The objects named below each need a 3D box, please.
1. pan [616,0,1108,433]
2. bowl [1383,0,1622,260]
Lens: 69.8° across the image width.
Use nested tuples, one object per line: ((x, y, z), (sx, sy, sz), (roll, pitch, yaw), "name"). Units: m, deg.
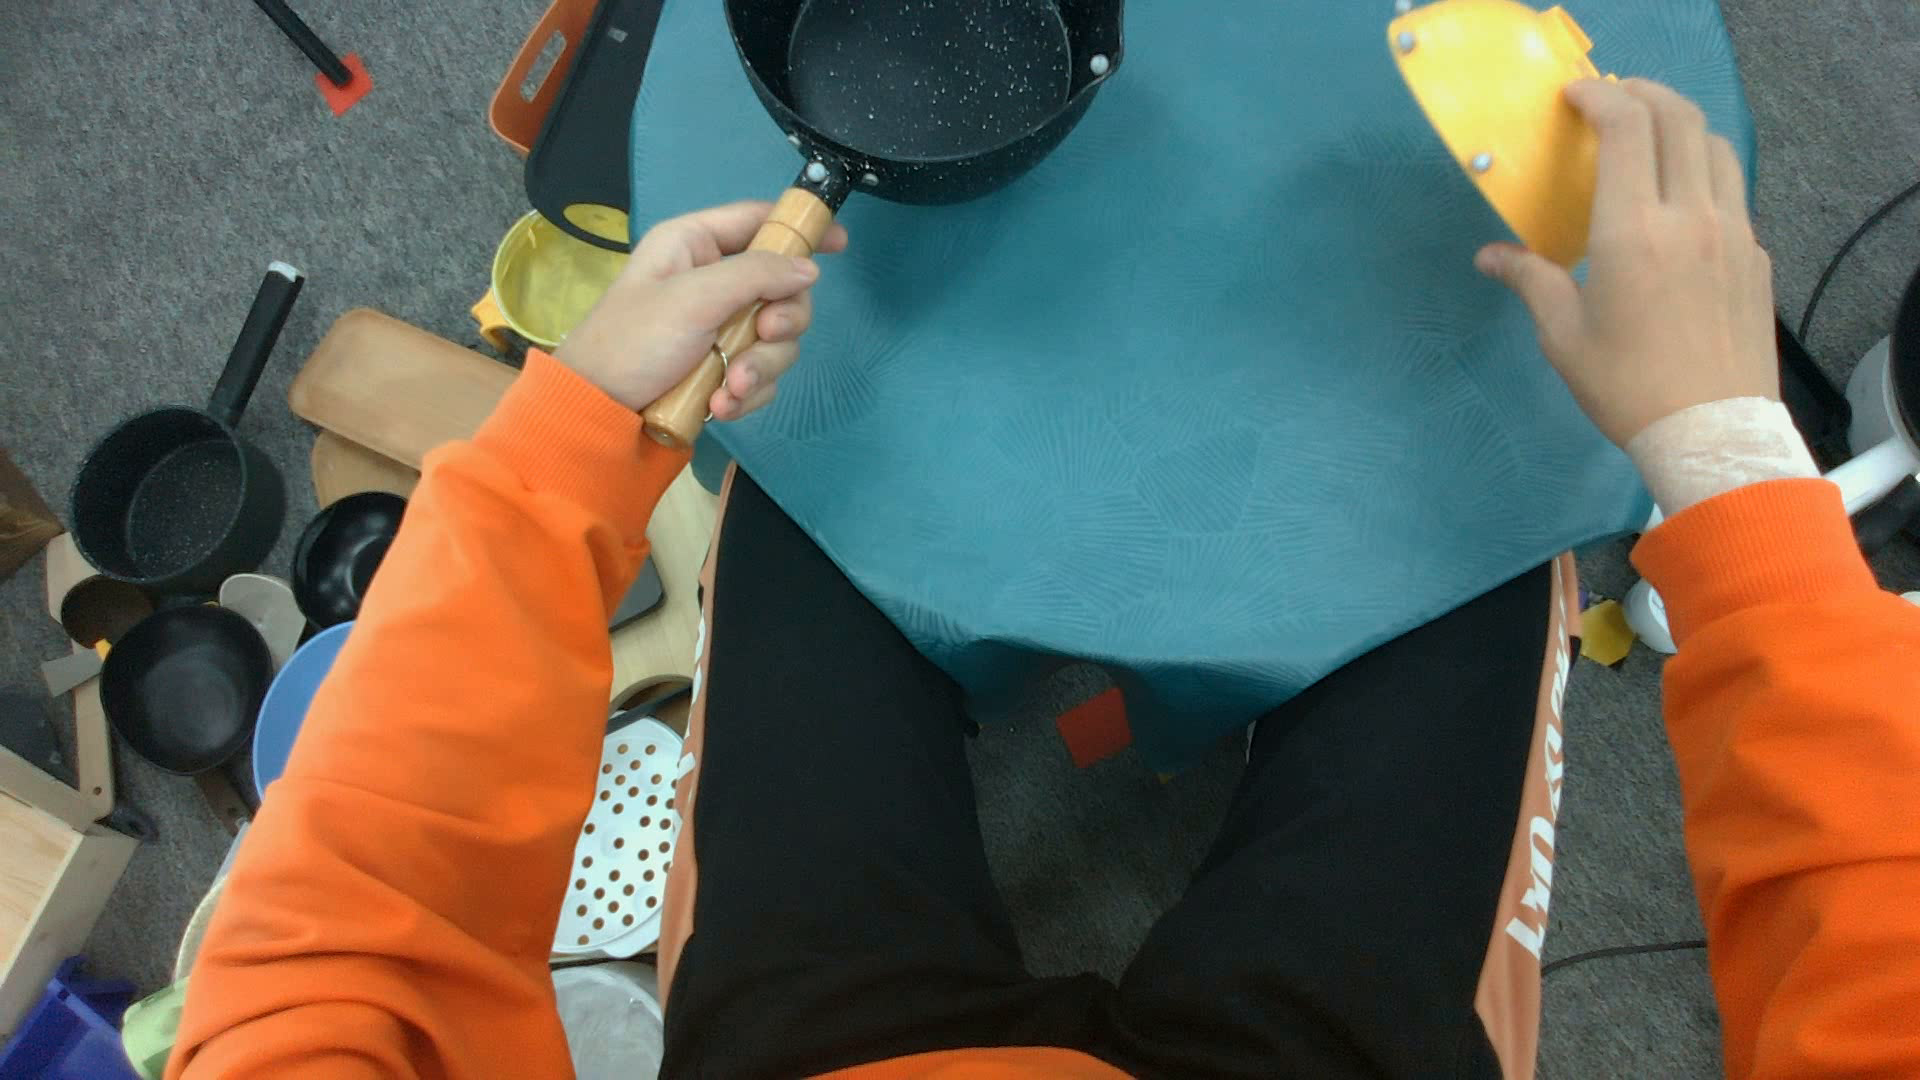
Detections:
((-0.058, -0.188, 0.648), (0.207, 0.108, 0.343), (25, 79, 4), "pan")
((0.255, -0.204, 0.624), (0.060, 0.145, 0.145), (-31, 72, 31), "bowl")
